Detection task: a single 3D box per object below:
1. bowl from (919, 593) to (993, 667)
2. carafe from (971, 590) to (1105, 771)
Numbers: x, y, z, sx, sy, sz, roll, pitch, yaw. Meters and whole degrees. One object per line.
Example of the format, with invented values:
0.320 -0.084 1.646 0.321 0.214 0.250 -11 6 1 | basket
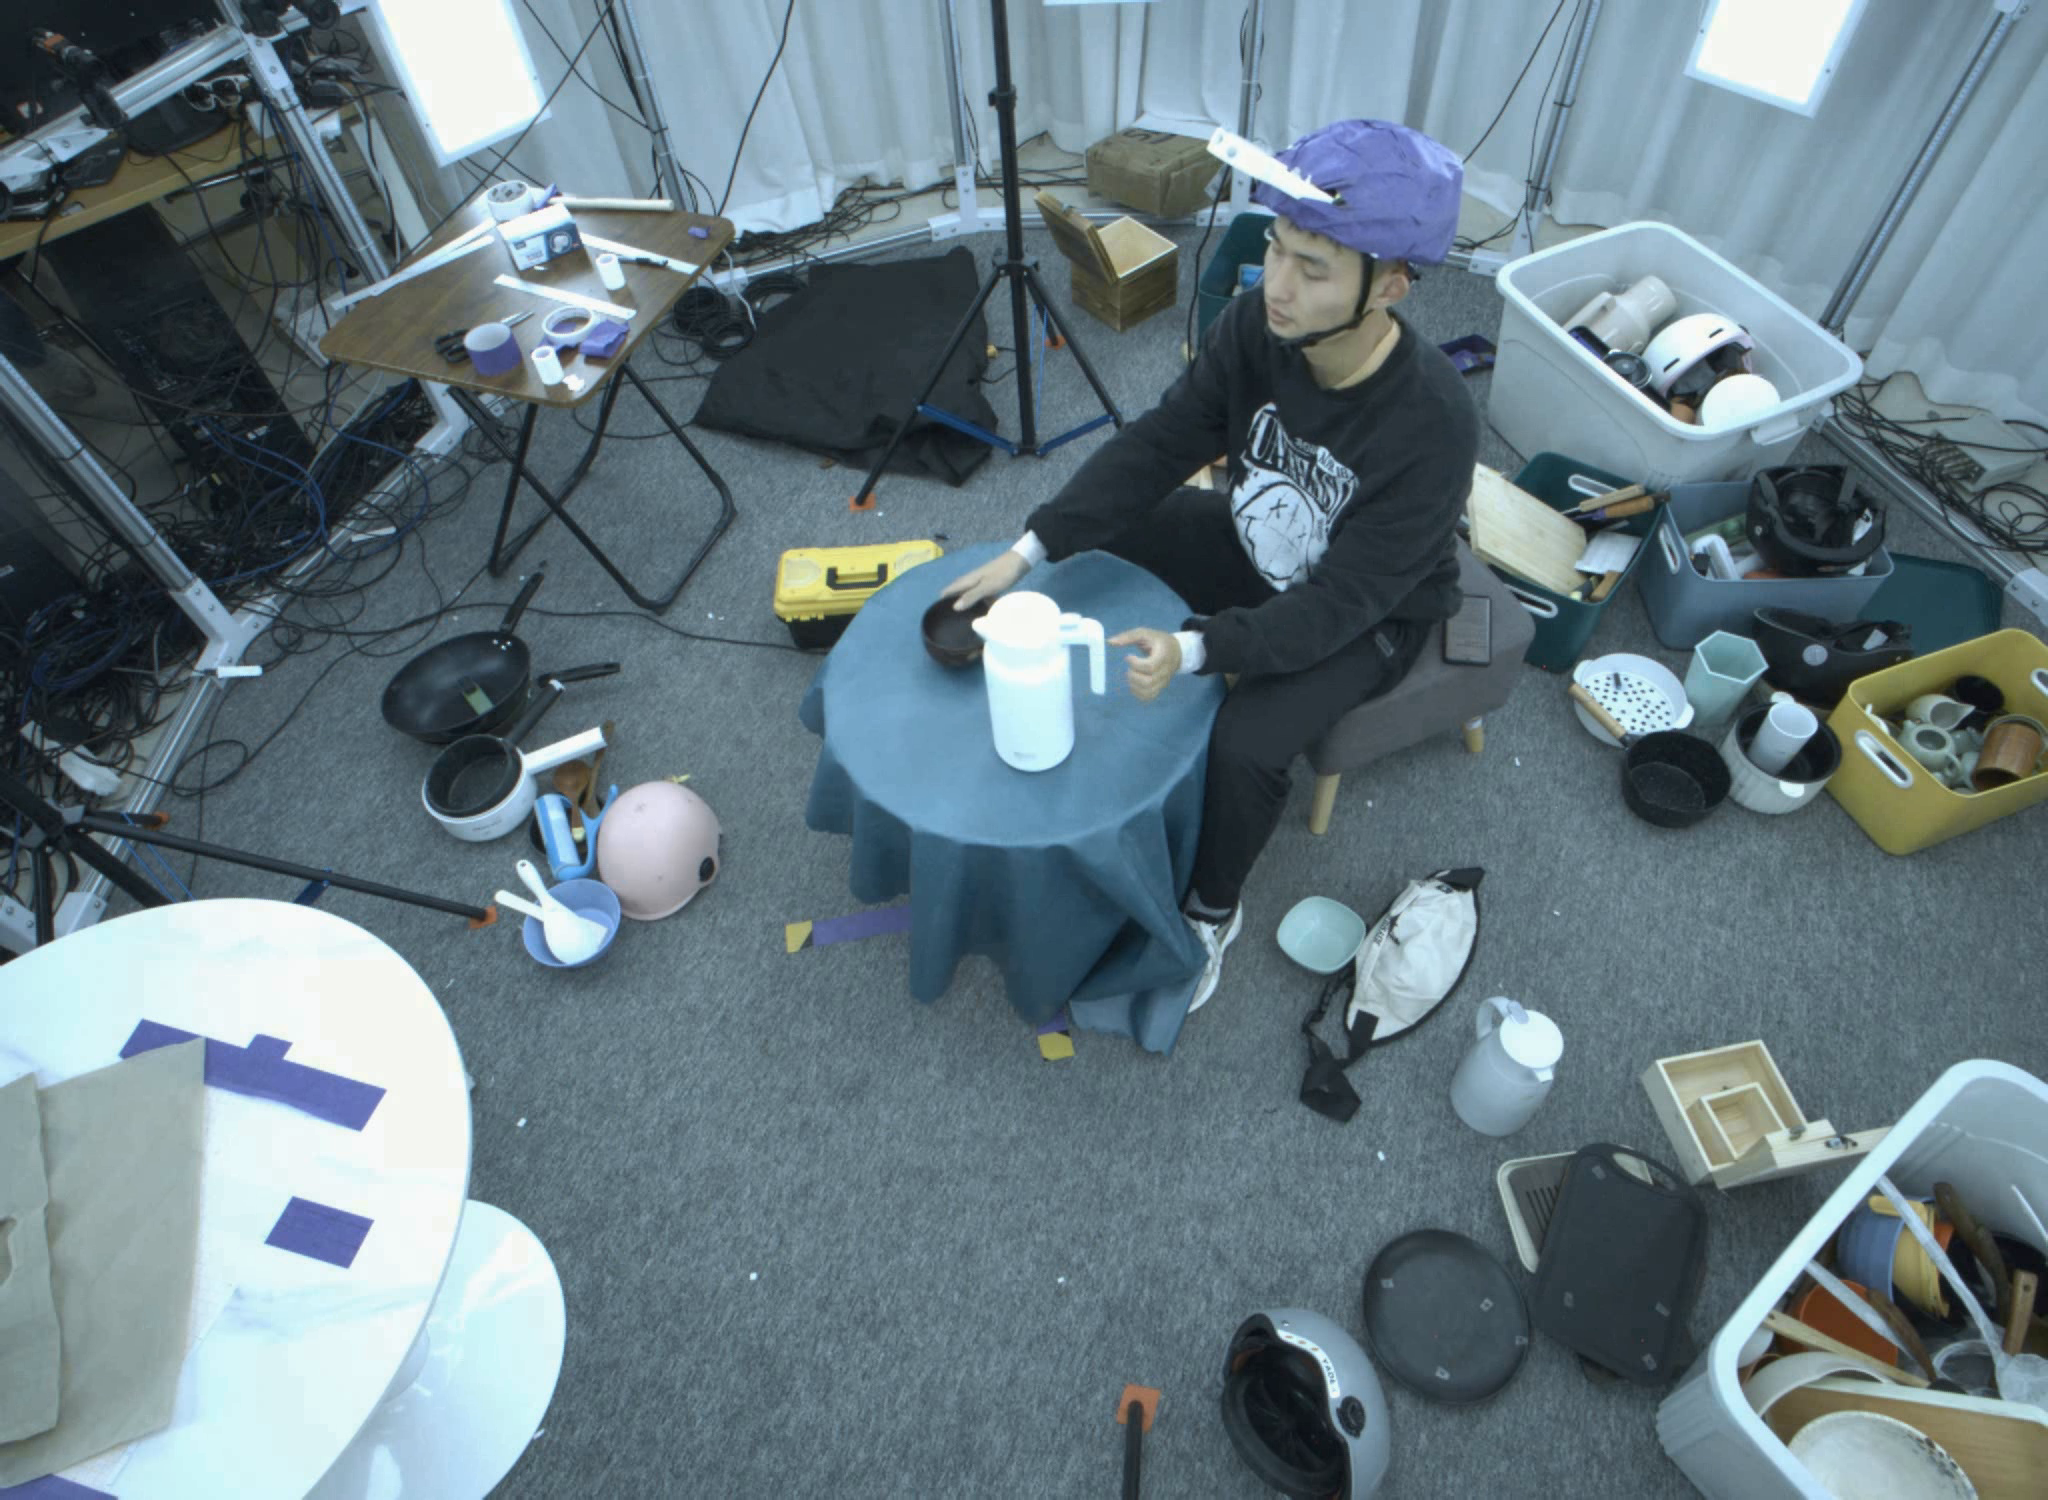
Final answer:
-0.099 -0.175 1.866 0.118 0.070 0.117 0 54 2 | bowl
0.024 -0.093 1.684 0.173 0.272 0.122 -2 52 2 | carafe
